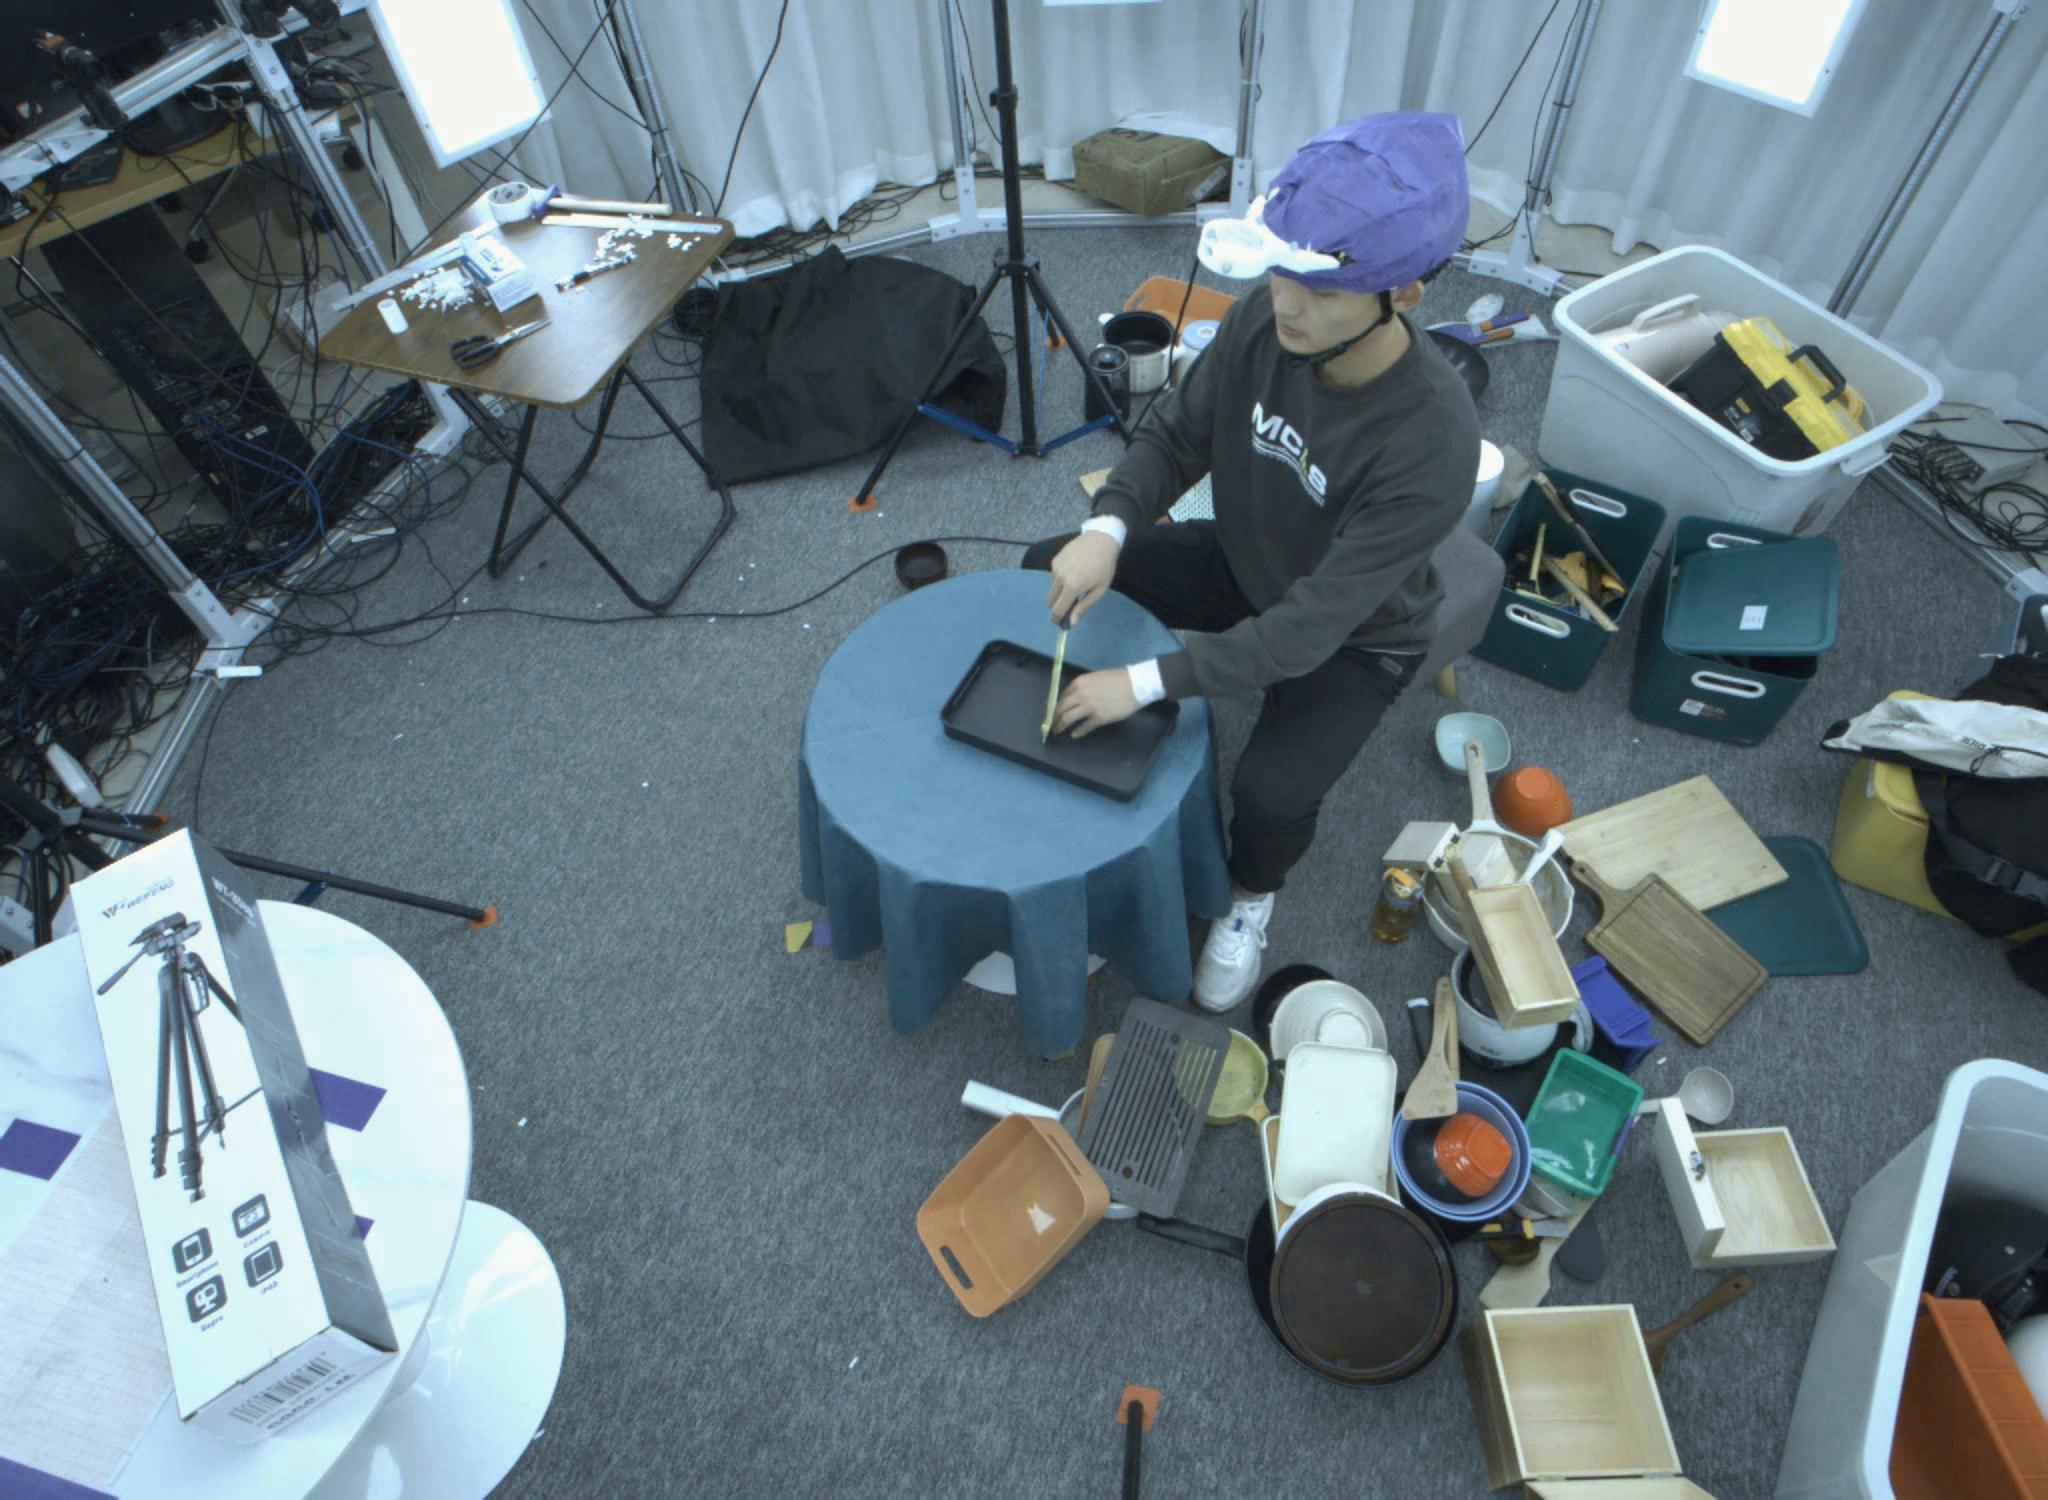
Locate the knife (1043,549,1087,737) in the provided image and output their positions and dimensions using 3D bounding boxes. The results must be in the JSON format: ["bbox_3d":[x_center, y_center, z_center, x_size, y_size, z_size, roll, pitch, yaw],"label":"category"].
[{"bbox_3d":[0.055,-0.158,1.806,0.027,0.080,0.288,13,79,-8],"label":"knife"}]

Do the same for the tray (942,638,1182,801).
[{"bbox_3d":[0.056,-0.048,1.804,0.314,0.037,0.184,19,57,14],"label":"tray"}]
